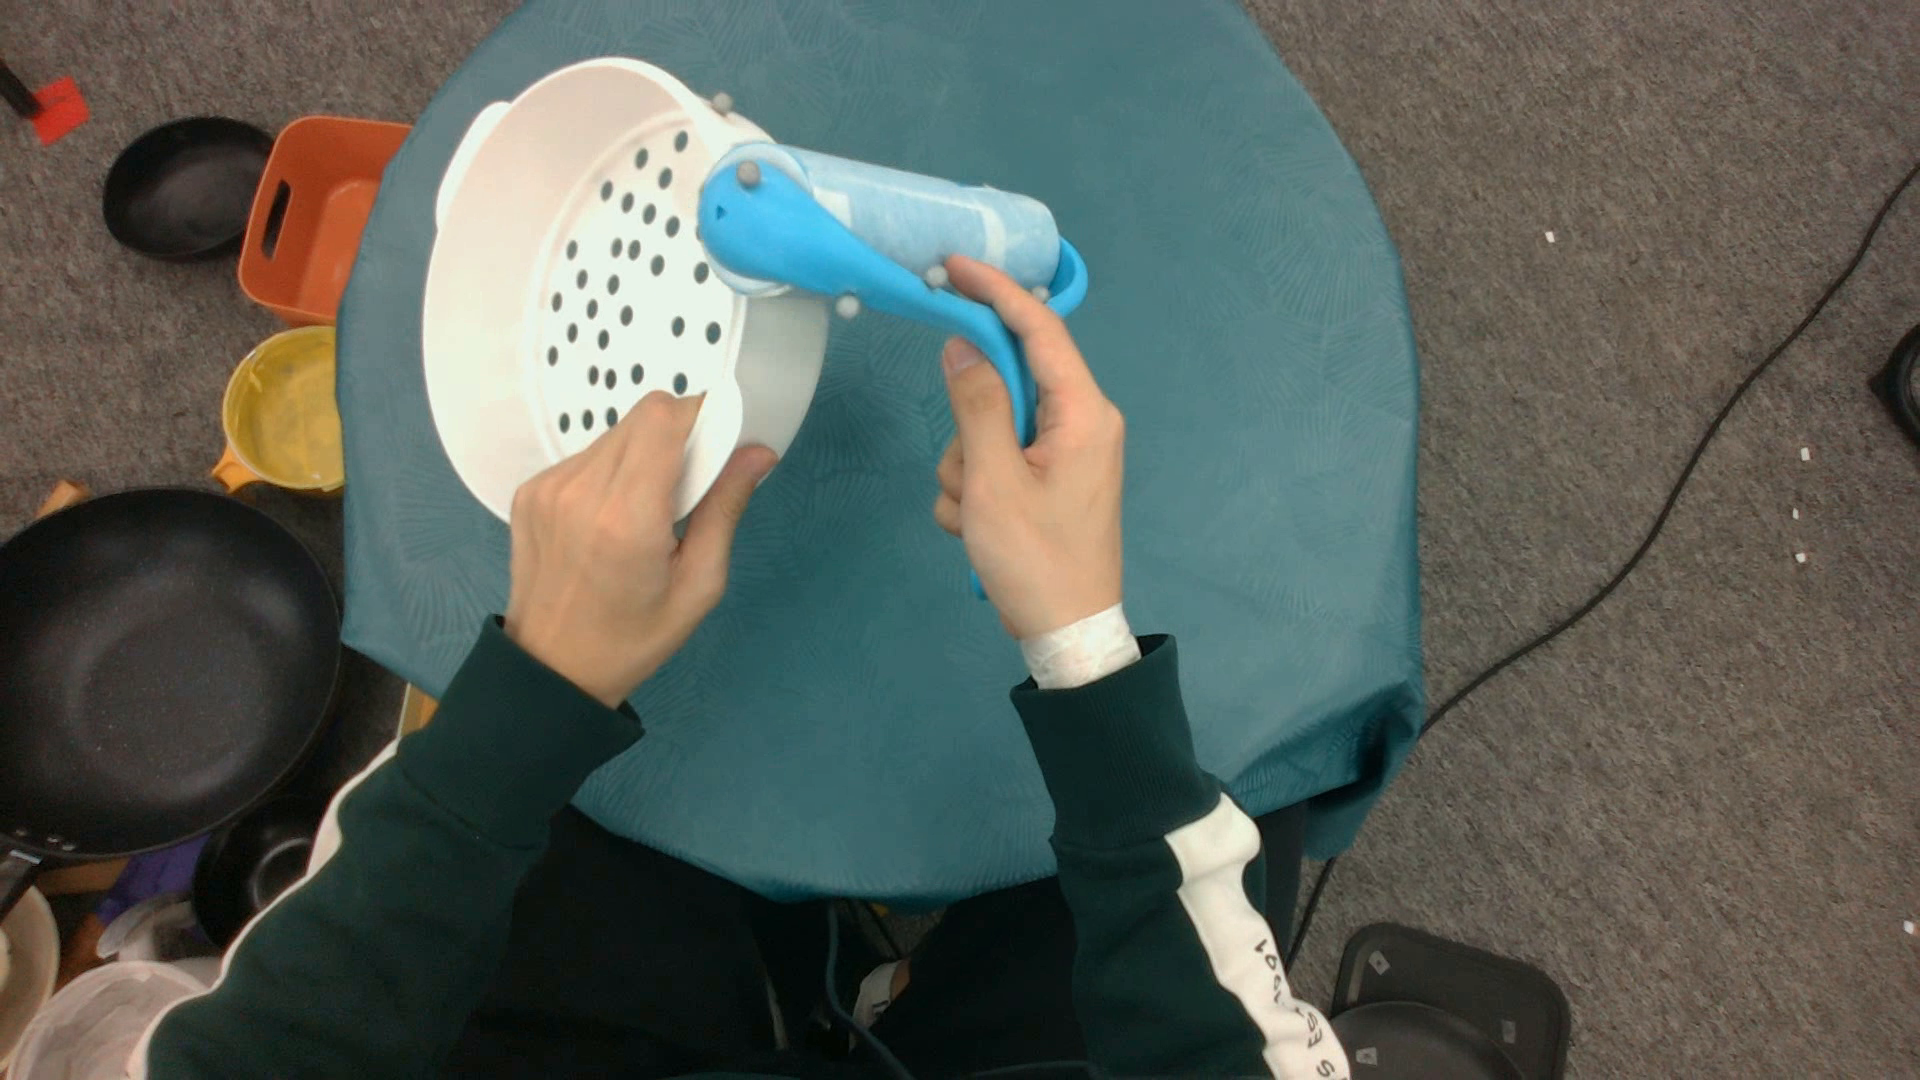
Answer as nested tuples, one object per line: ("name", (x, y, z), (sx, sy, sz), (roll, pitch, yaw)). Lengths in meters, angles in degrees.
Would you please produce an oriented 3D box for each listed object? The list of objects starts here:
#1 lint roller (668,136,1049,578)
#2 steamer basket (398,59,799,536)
("lint roller", (-0.011, -0.078, 0.565), (0.067, 0.230, 0.180), (-27, 89, 27))
("steamer basket", (-0.160, -0.102, 0.607), (0.231, 0.069, 0.201), (47, 113, 25))
